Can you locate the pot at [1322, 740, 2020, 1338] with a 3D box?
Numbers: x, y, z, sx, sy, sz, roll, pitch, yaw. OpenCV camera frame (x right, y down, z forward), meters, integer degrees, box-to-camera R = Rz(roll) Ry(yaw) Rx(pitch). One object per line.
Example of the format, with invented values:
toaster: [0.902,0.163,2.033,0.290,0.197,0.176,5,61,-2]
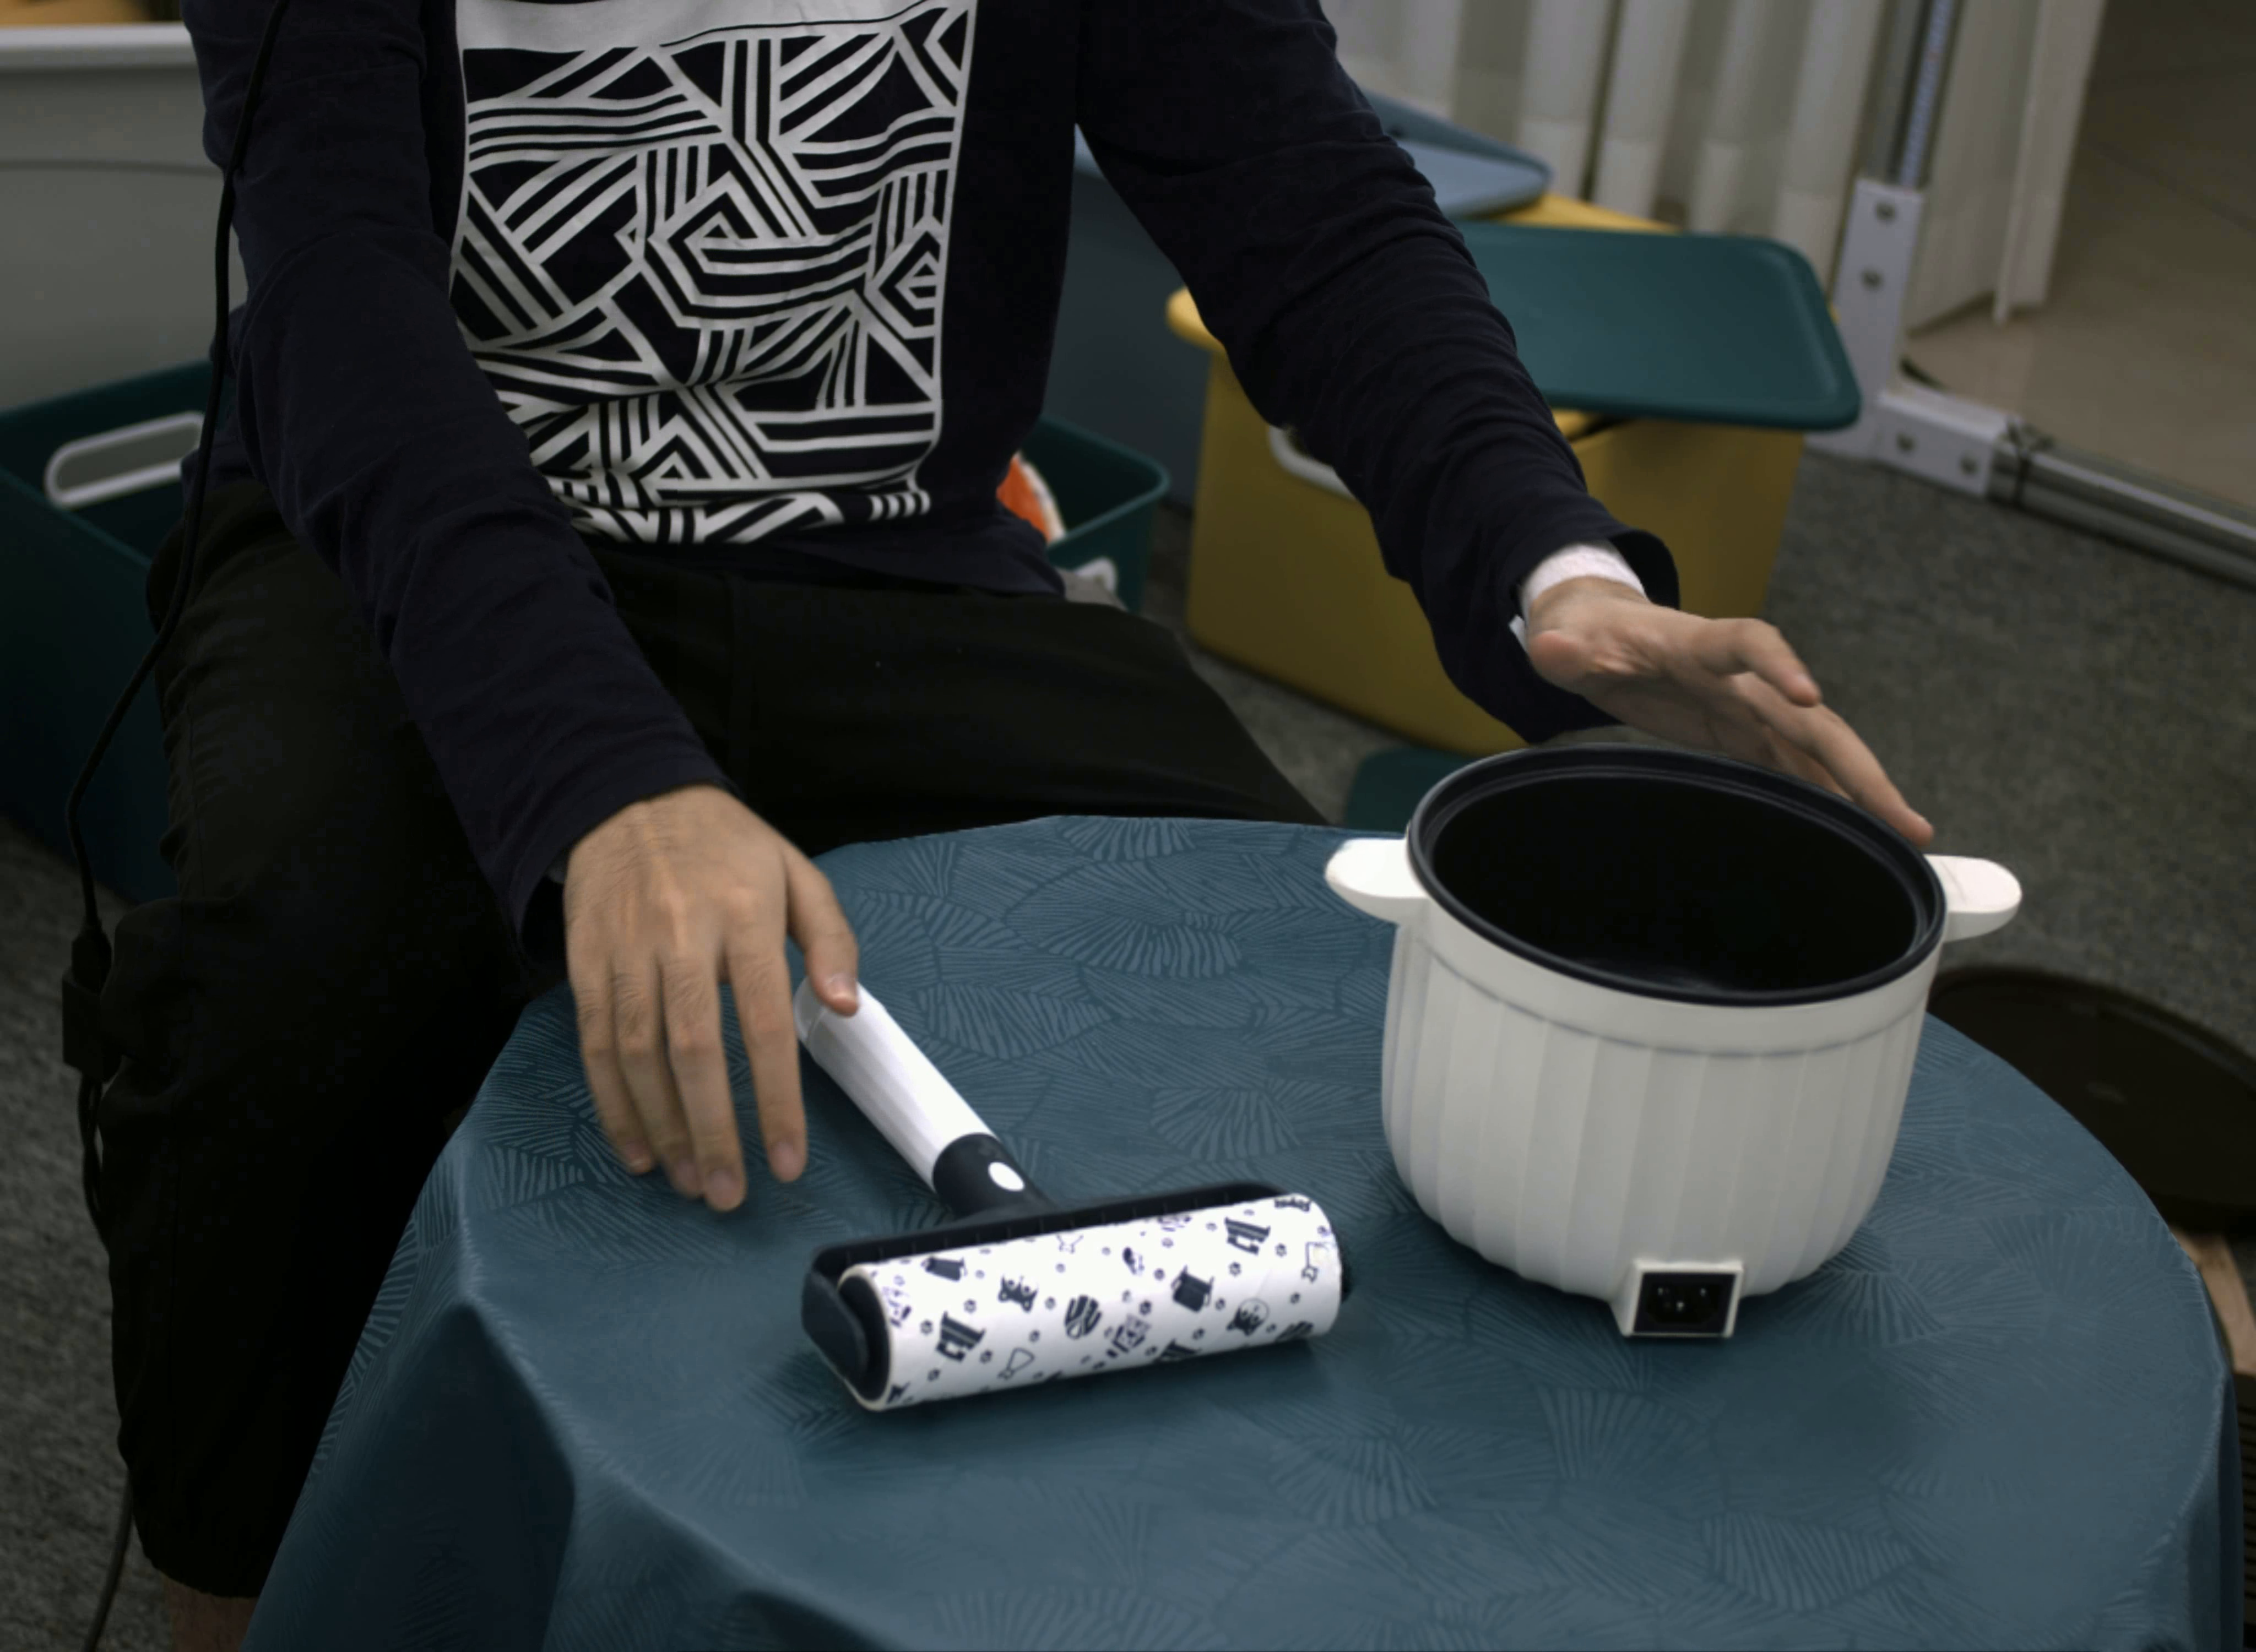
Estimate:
pot: [0.173,0.069,1.800,0.239,0.142,0.192,2,30,-11]

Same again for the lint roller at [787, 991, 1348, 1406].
lint roller: [-0.059,0.108,1.777,0.175,0.050,0.249,-9,28,-25]
